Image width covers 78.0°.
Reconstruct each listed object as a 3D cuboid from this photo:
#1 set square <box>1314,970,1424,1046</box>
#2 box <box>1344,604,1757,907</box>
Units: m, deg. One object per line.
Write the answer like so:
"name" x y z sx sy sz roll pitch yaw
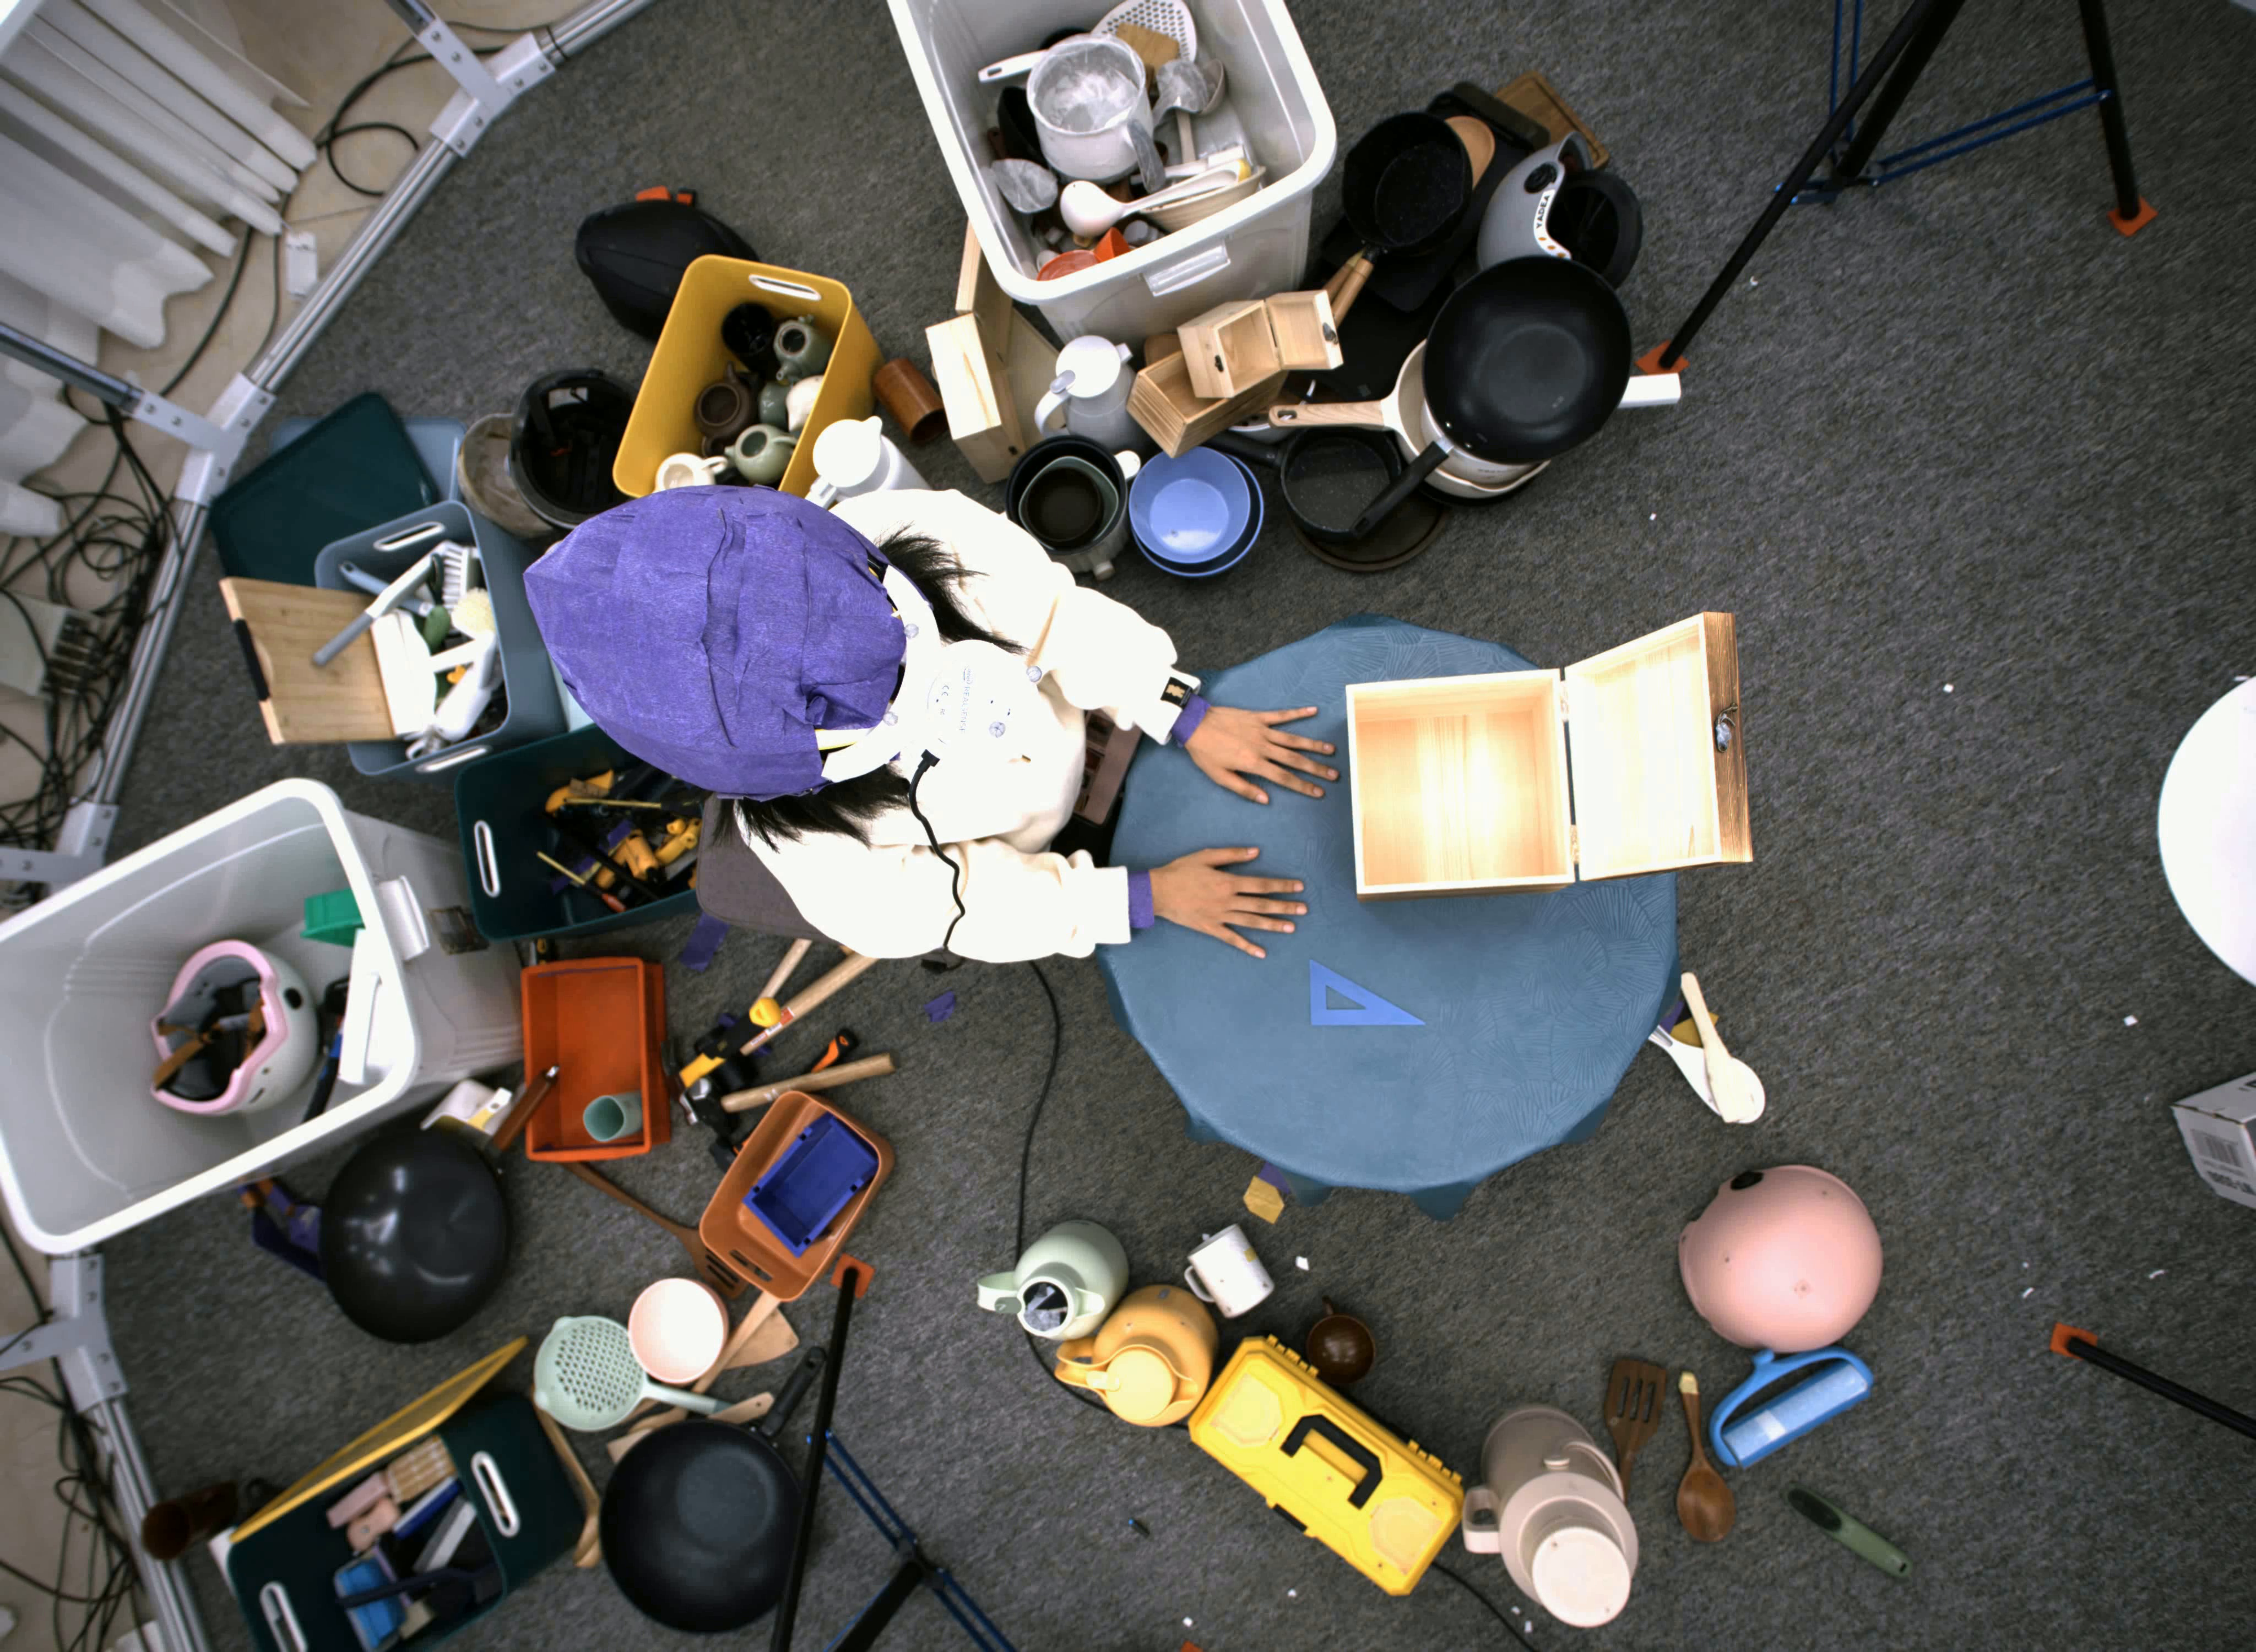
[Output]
"set square" 0.243 0.208 1.455 0.131 0.006 0.061 33 90 11
"box" 0.360 -0.049 1.269 0.323 0.376 0.207 -4 83 9
